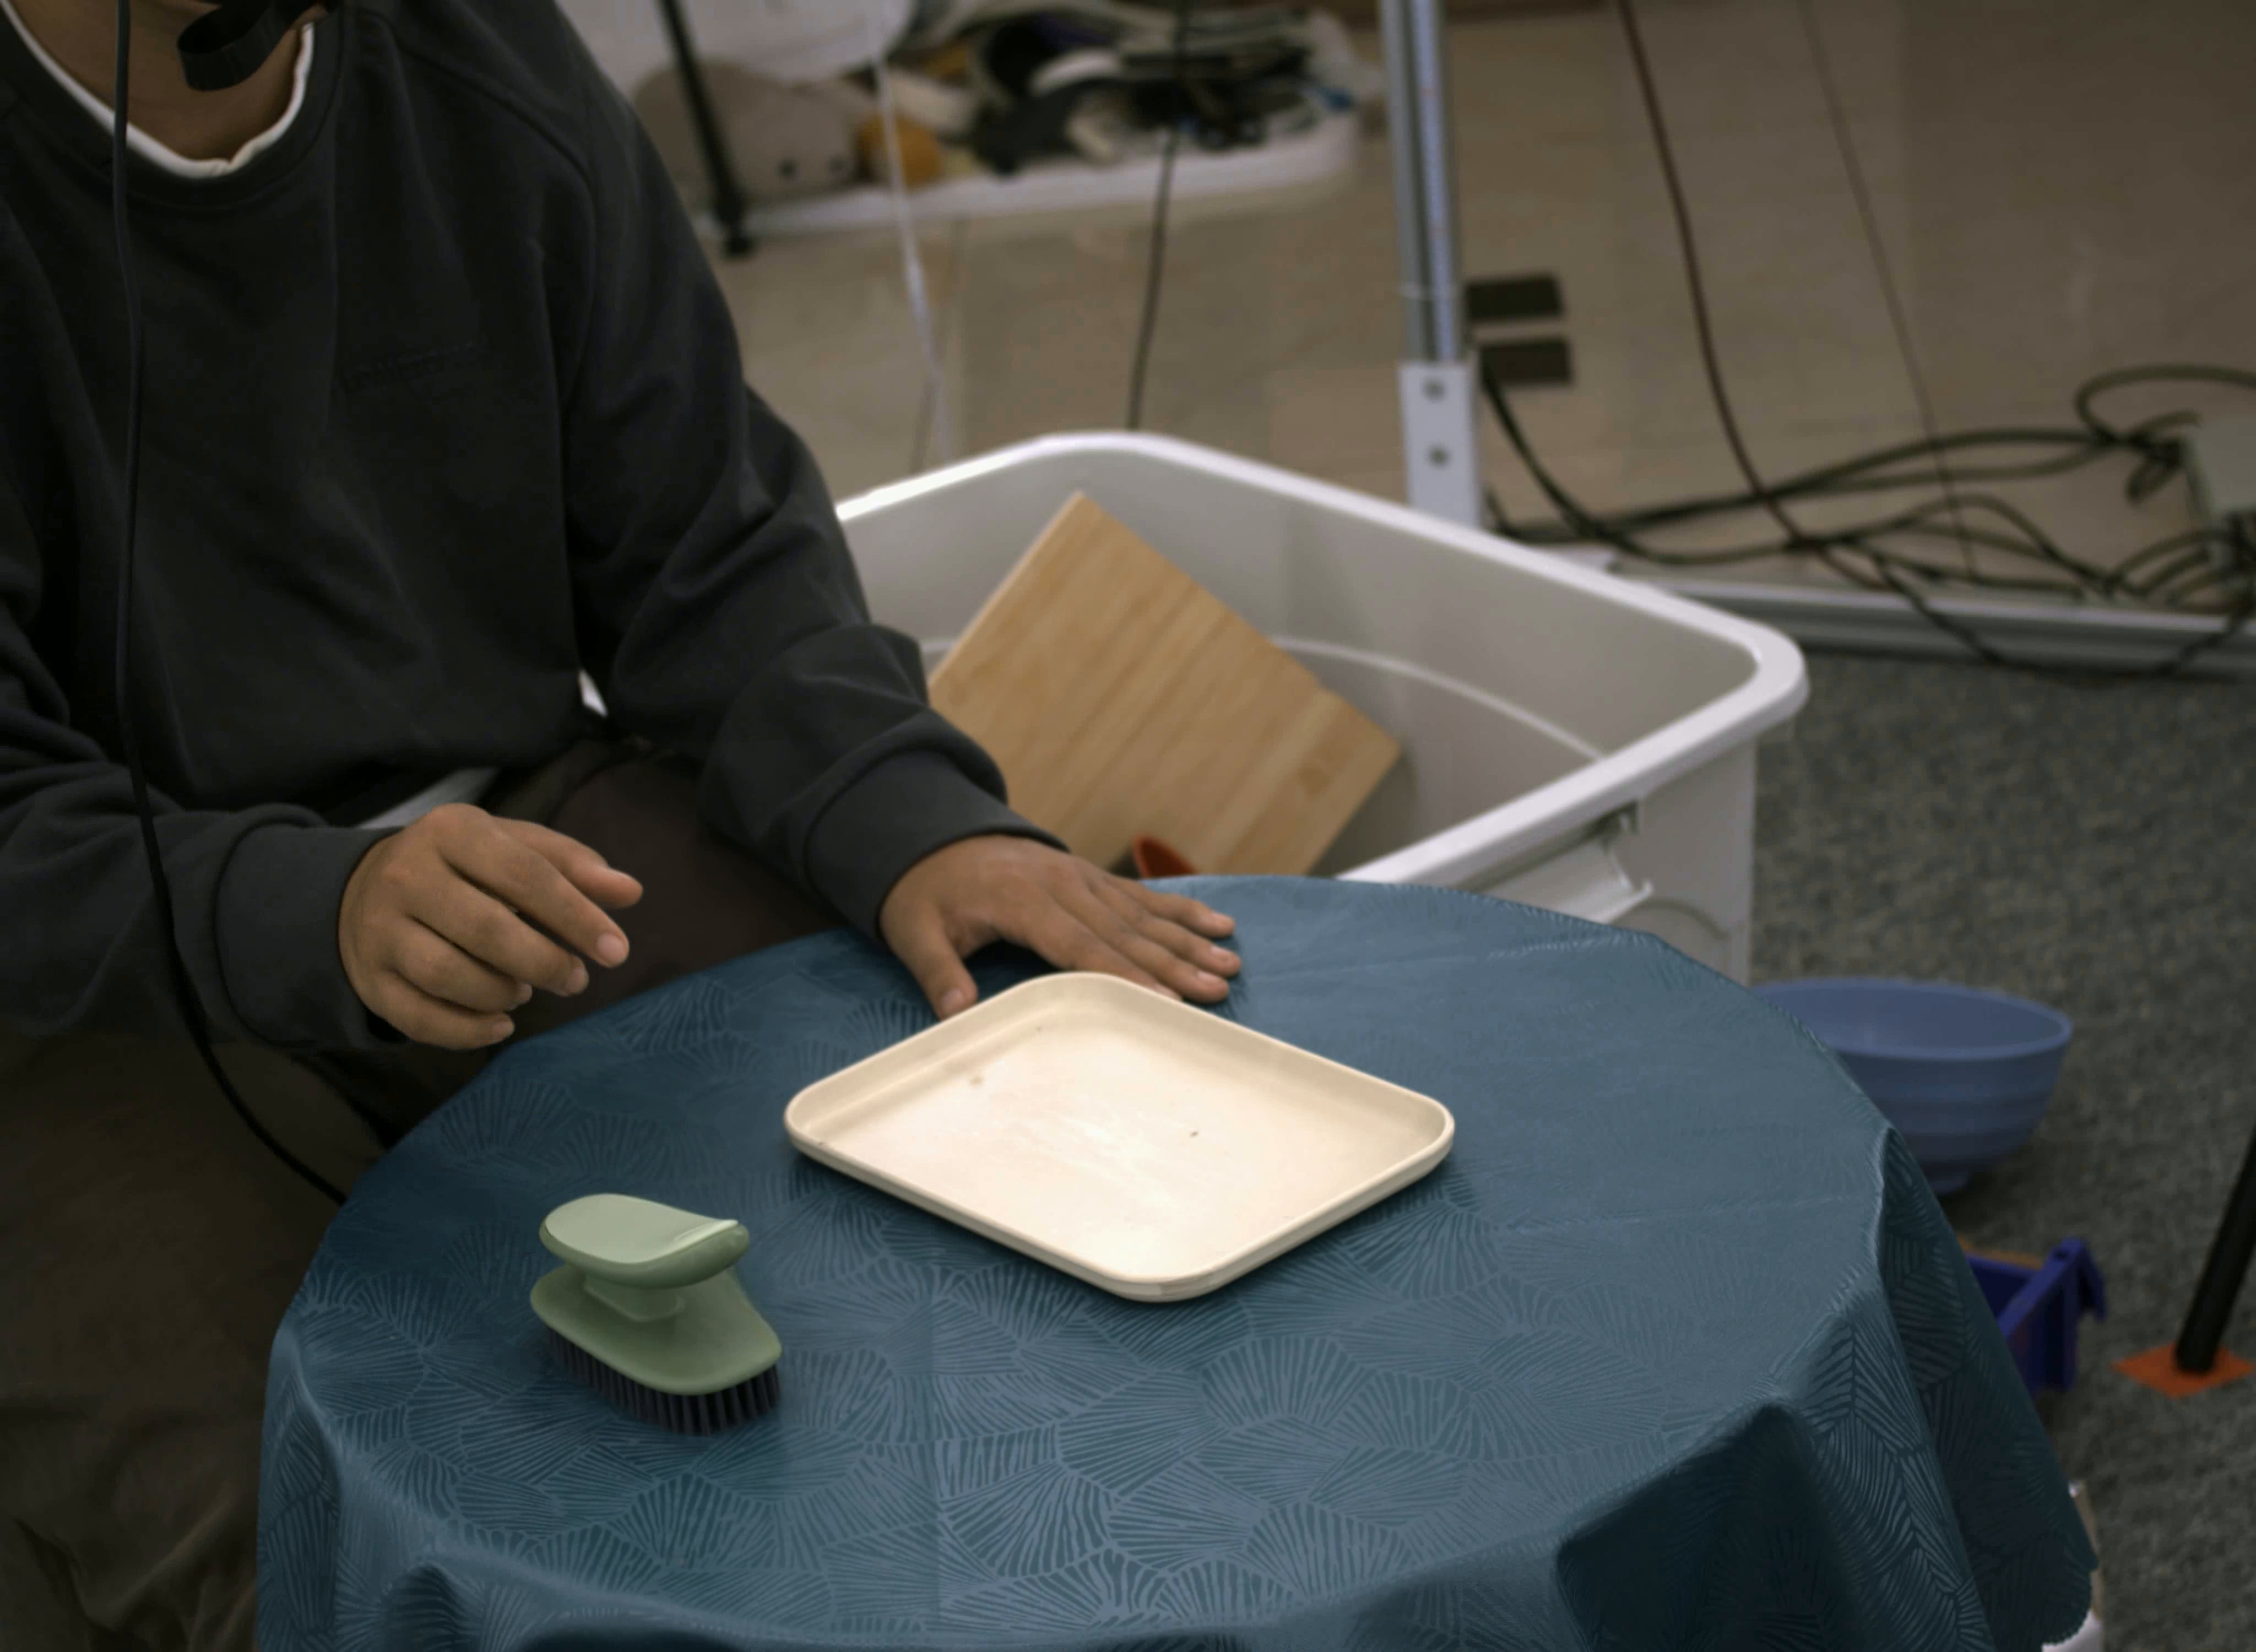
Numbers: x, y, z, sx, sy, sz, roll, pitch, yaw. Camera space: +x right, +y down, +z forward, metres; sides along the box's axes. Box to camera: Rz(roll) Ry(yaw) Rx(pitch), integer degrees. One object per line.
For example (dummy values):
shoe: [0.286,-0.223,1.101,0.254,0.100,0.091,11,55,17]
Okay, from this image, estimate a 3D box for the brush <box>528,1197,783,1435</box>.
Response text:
brush: [-0.171,0.174,2.049,0.059,0.076,0.122,-23,15,-32]

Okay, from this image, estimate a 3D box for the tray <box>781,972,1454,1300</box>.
tray: [-0.005,0.118,2.173,0.170,0.018,0.238,-25,30,-36]
